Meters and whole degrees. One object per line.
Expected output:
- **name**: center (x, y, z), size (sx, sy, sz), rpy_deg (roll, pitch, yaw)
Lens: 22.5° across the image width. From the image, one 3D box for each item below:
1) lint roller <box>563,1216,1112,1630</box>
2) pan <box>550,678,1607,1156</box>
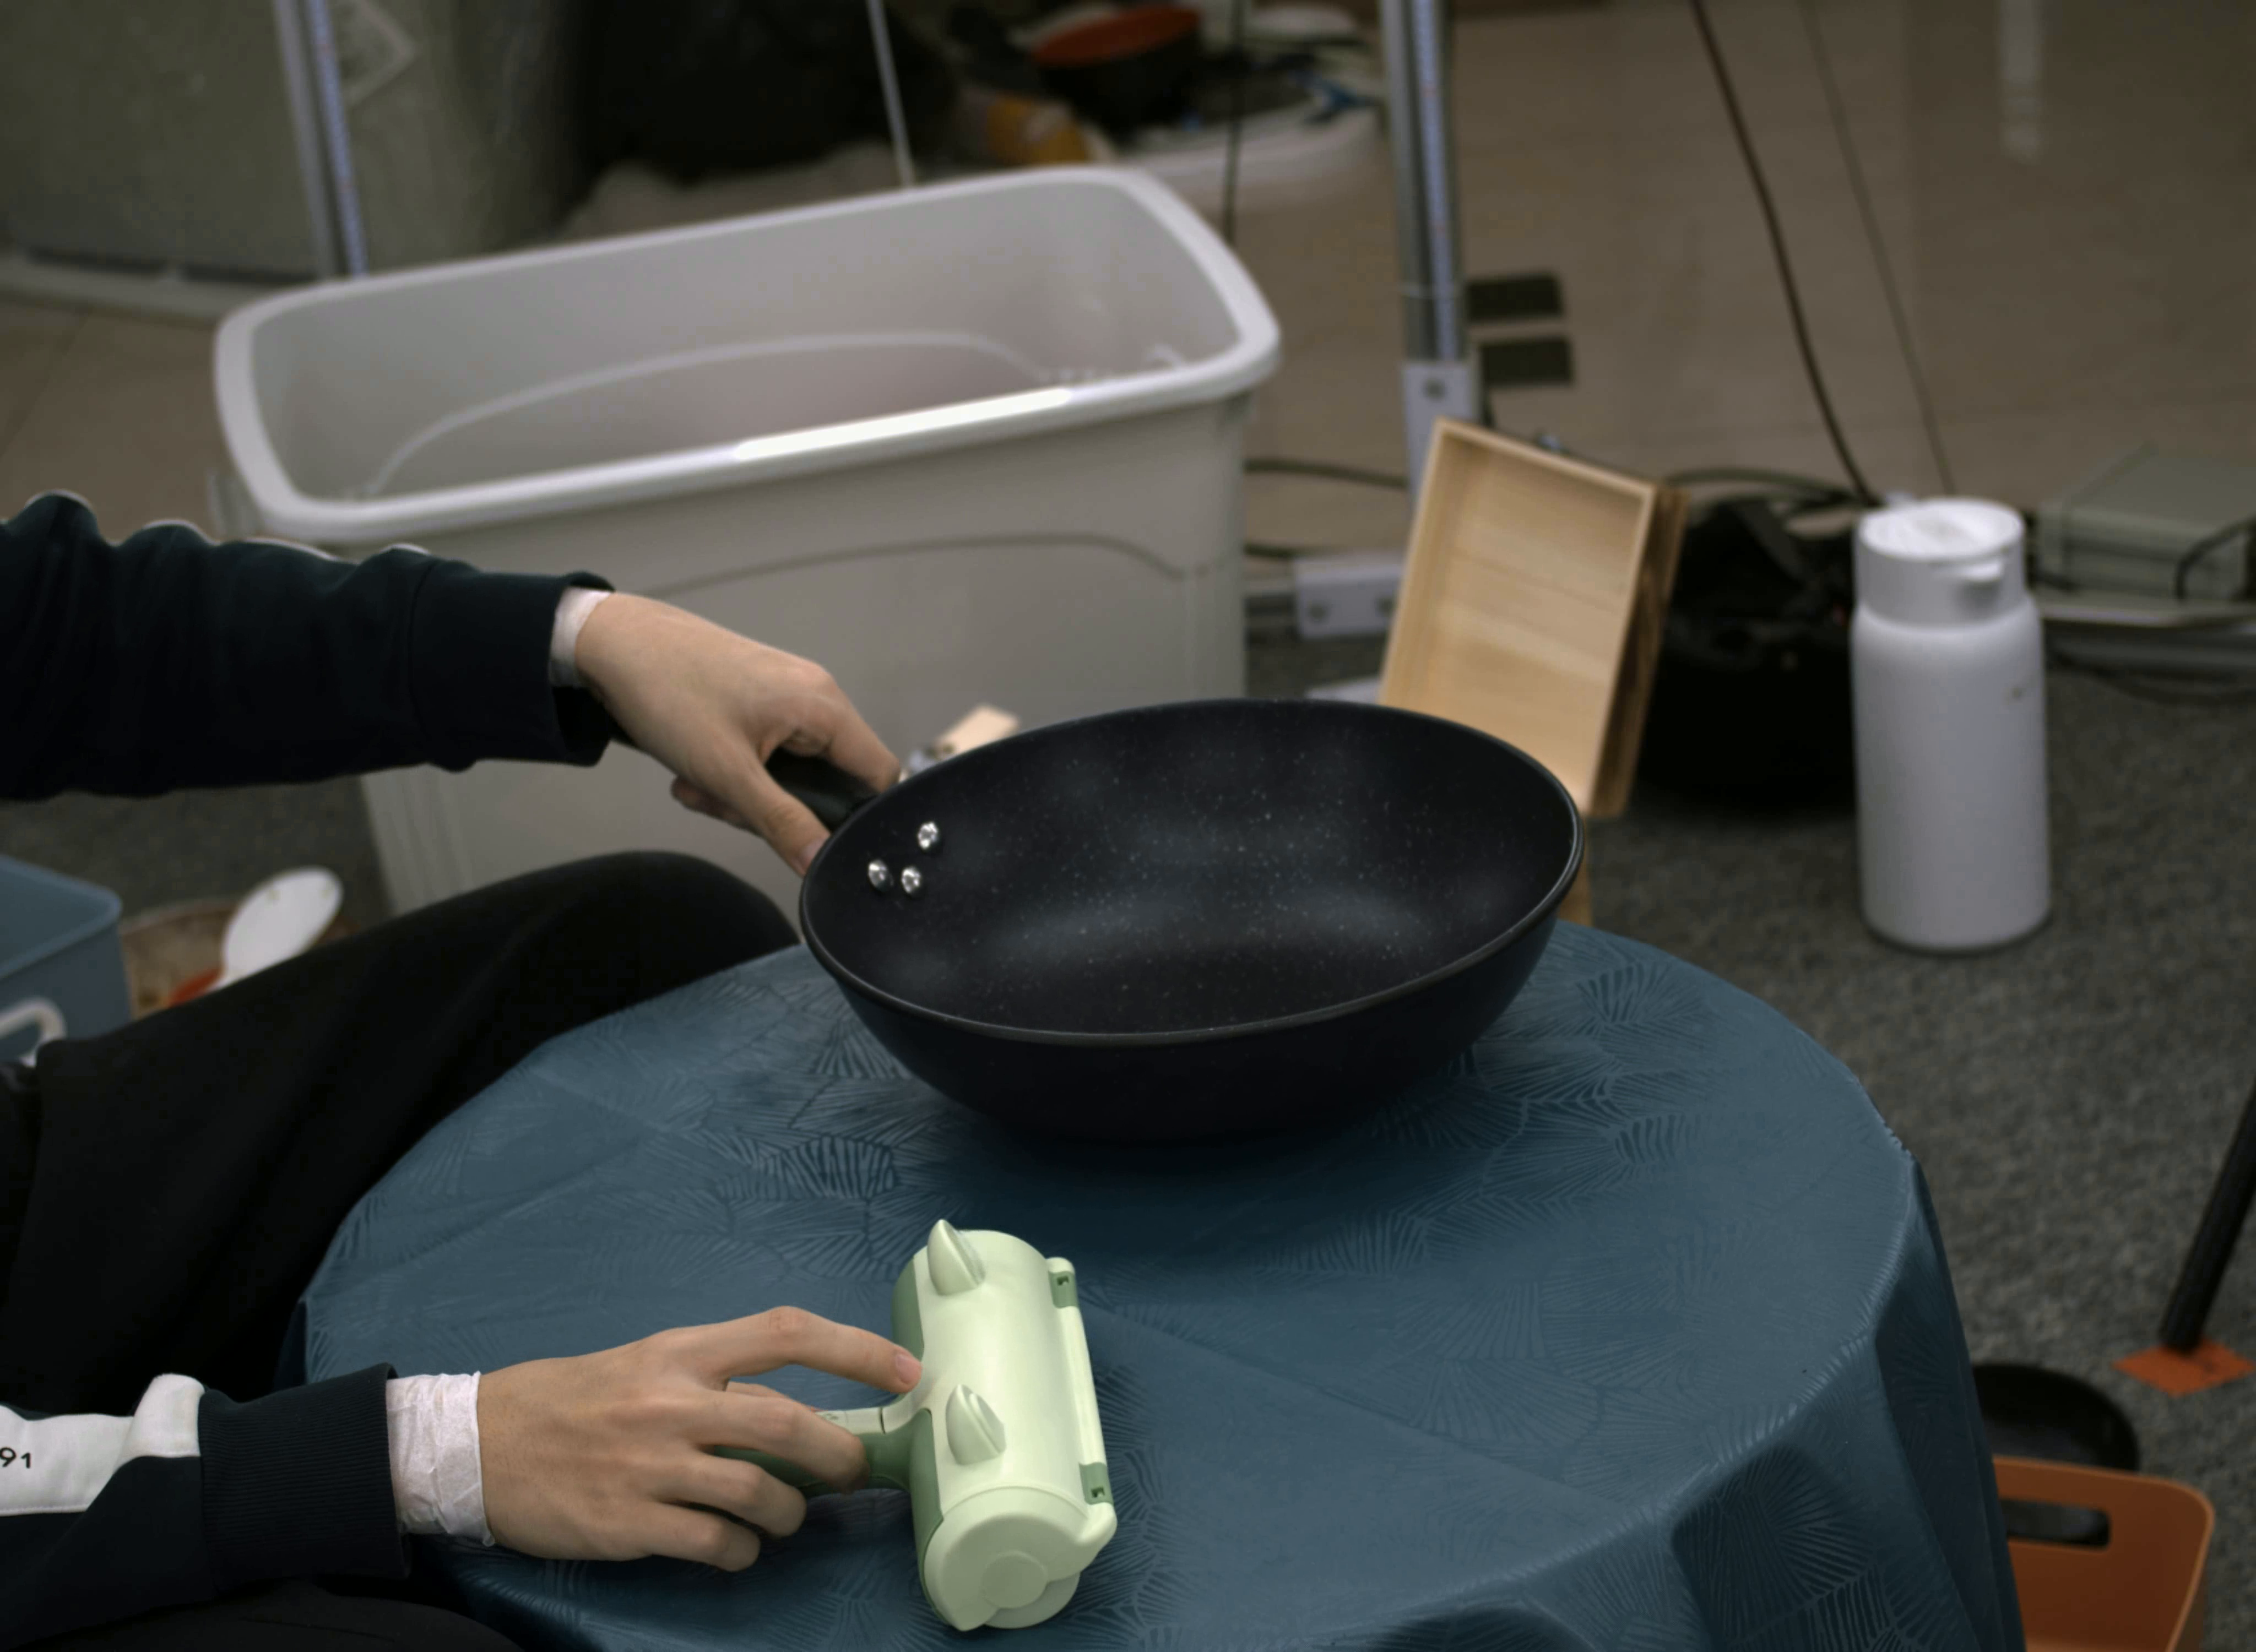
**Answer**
- **lint roller**: center (-0.104, 0.201, 1.945), size (0.183, 0.083, 0.195), rpy_deg (-3, 25, -4)
- **pan**: center (-0.036, 0.029, 2.262), size (0.474, 0.113, 0.307), rpy_deg (11, 29, 32)
